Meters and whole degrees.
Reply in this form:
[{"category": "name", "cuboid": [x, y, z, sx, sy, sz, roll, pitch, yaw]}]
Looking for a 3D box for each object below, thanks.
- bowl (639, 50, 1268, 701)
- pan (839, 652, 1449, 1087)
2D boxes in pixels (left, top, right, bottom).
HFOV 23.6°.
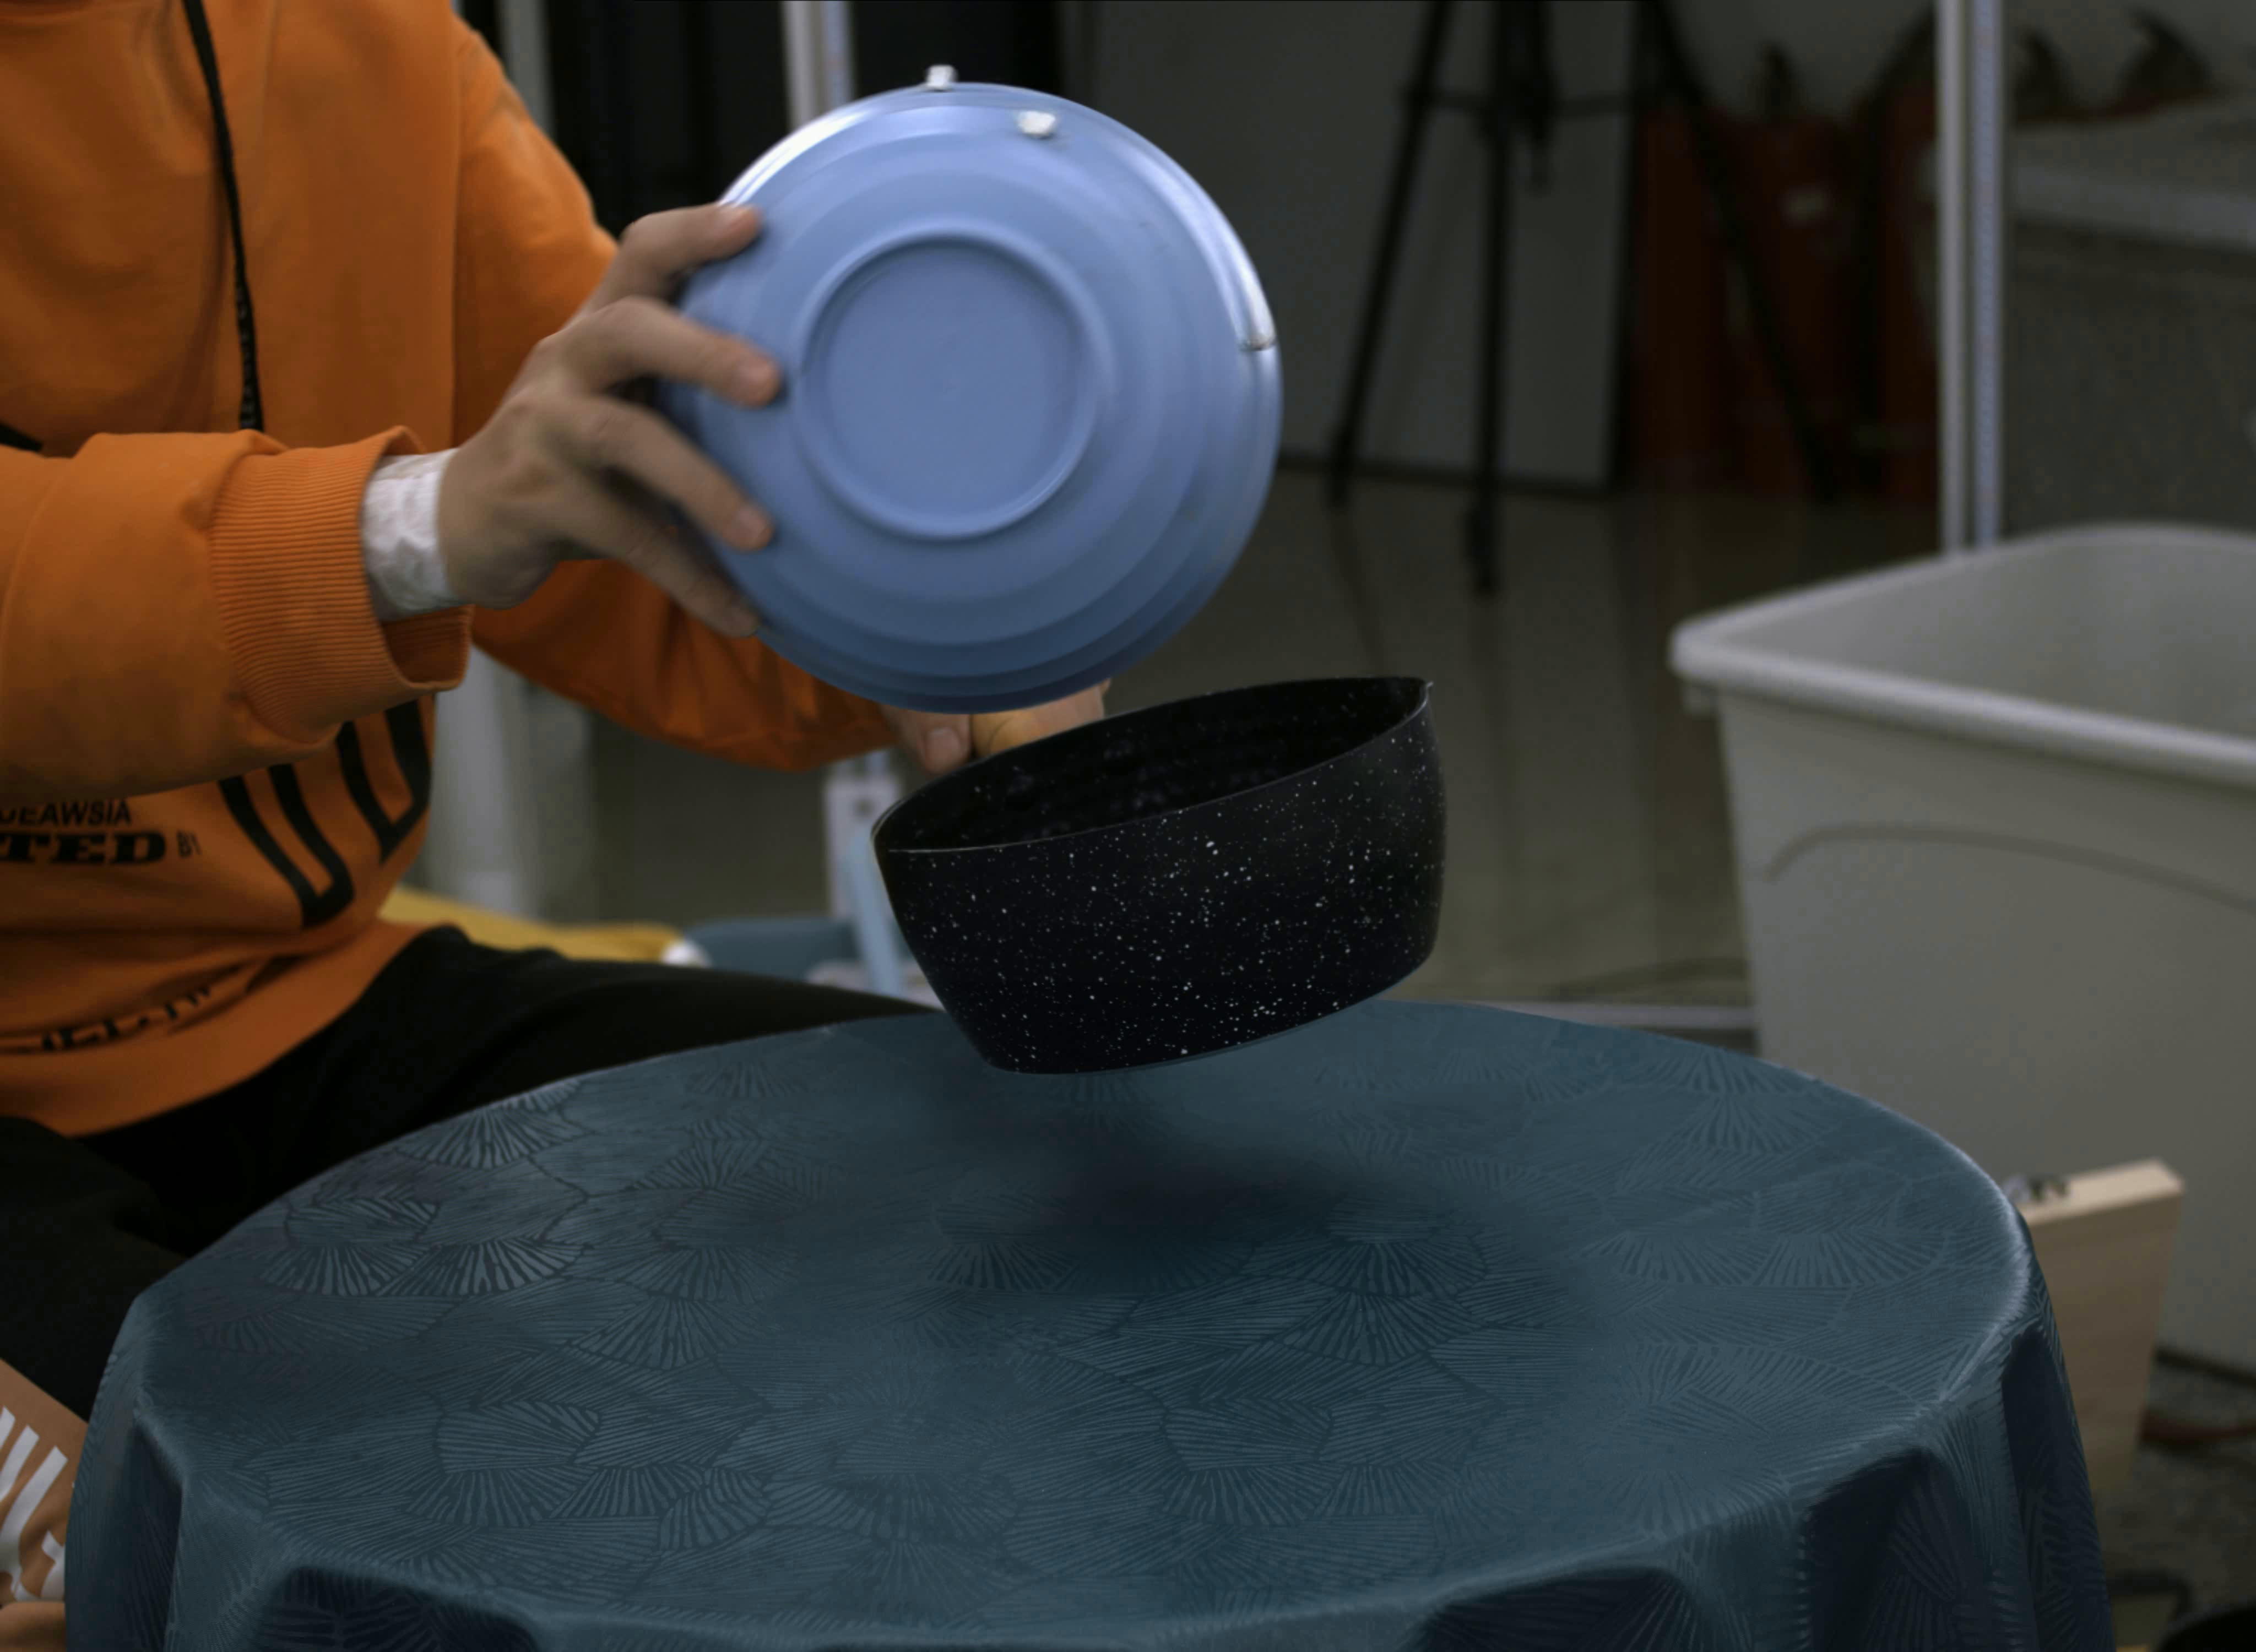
[{"category": "bowl", "cuboid": [-0.056, -0.135, 1.617, 0.194, 0.199, 0.095, -3, 4, 5]}, {"category": "pan", "cuboid": [-0.013, -0.002, 1.805, 0.204, 0.109, 0.346, -19, 13, -17]}]
